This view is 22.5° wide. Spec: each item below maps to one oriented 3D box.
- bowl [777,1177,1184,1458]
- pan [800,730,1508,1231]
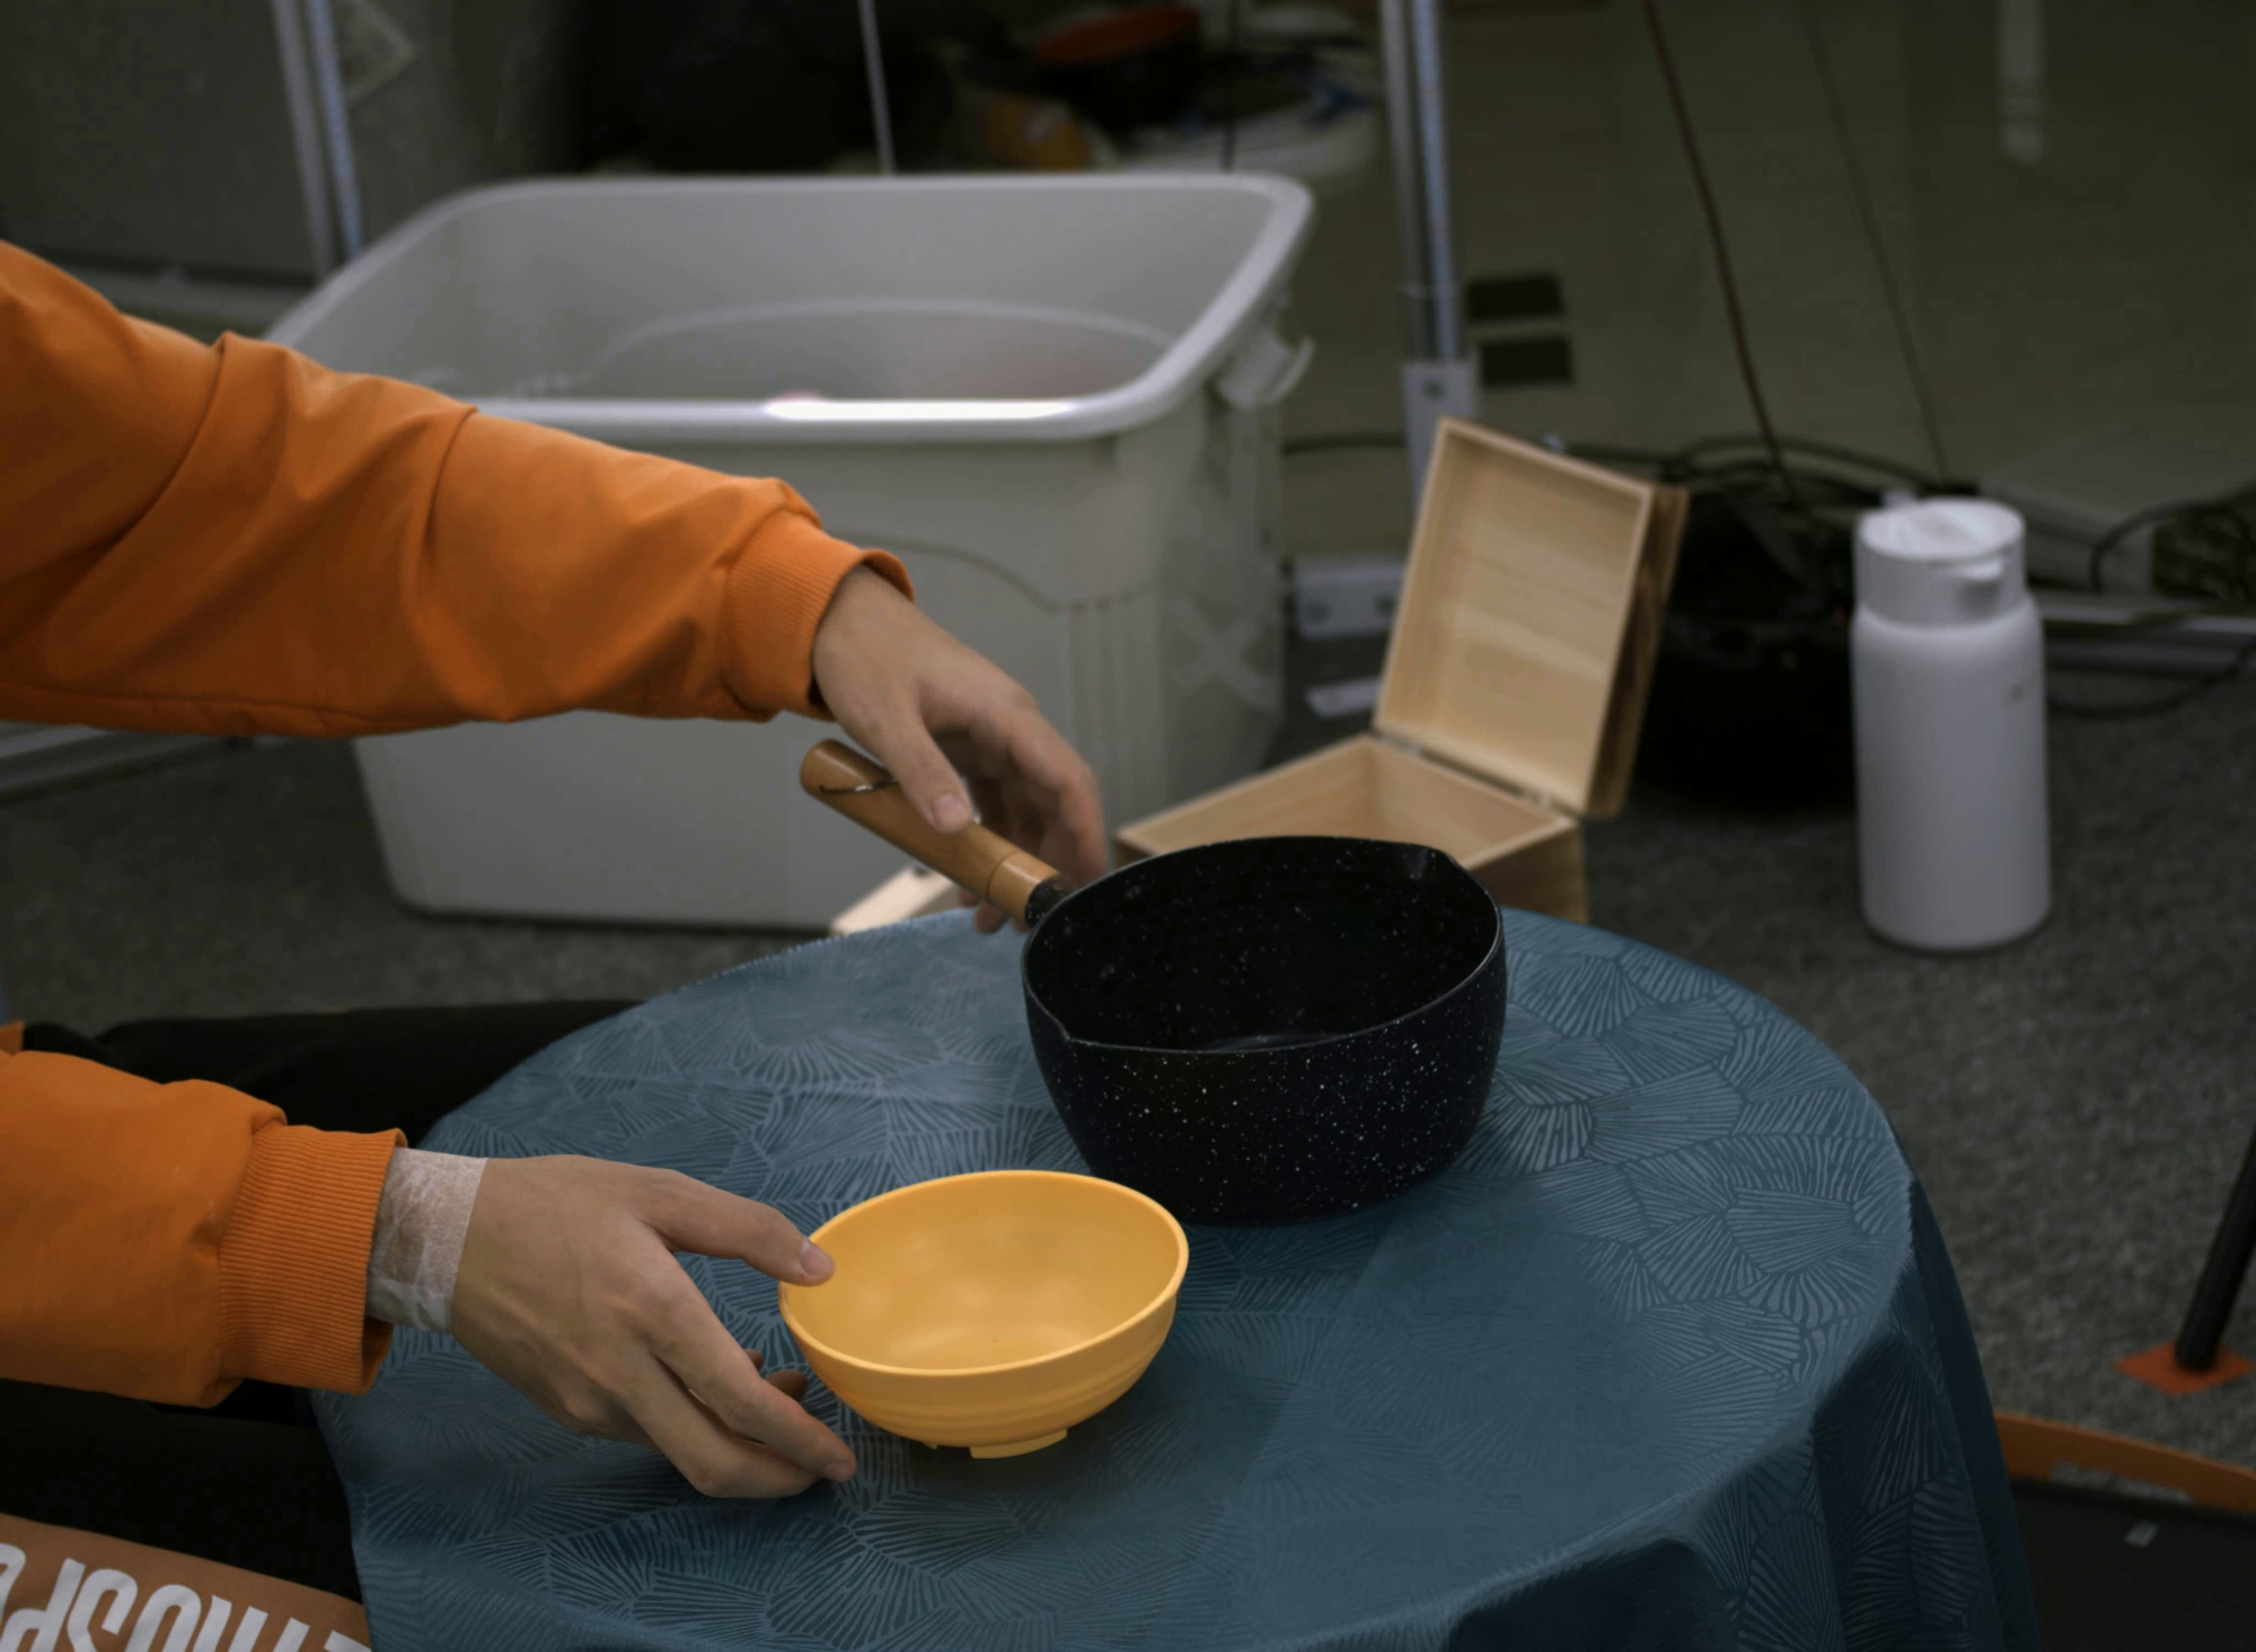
[{"bbox_3d":[-0.050,0.181,1.999,0.145,0.061,0.143,-5,24,2],"label":"bowl"},{"bbox_3d":[-0.004,0.052,2.204,0.340,0.110,0.205,19,36,40],"label":"pan"}]
